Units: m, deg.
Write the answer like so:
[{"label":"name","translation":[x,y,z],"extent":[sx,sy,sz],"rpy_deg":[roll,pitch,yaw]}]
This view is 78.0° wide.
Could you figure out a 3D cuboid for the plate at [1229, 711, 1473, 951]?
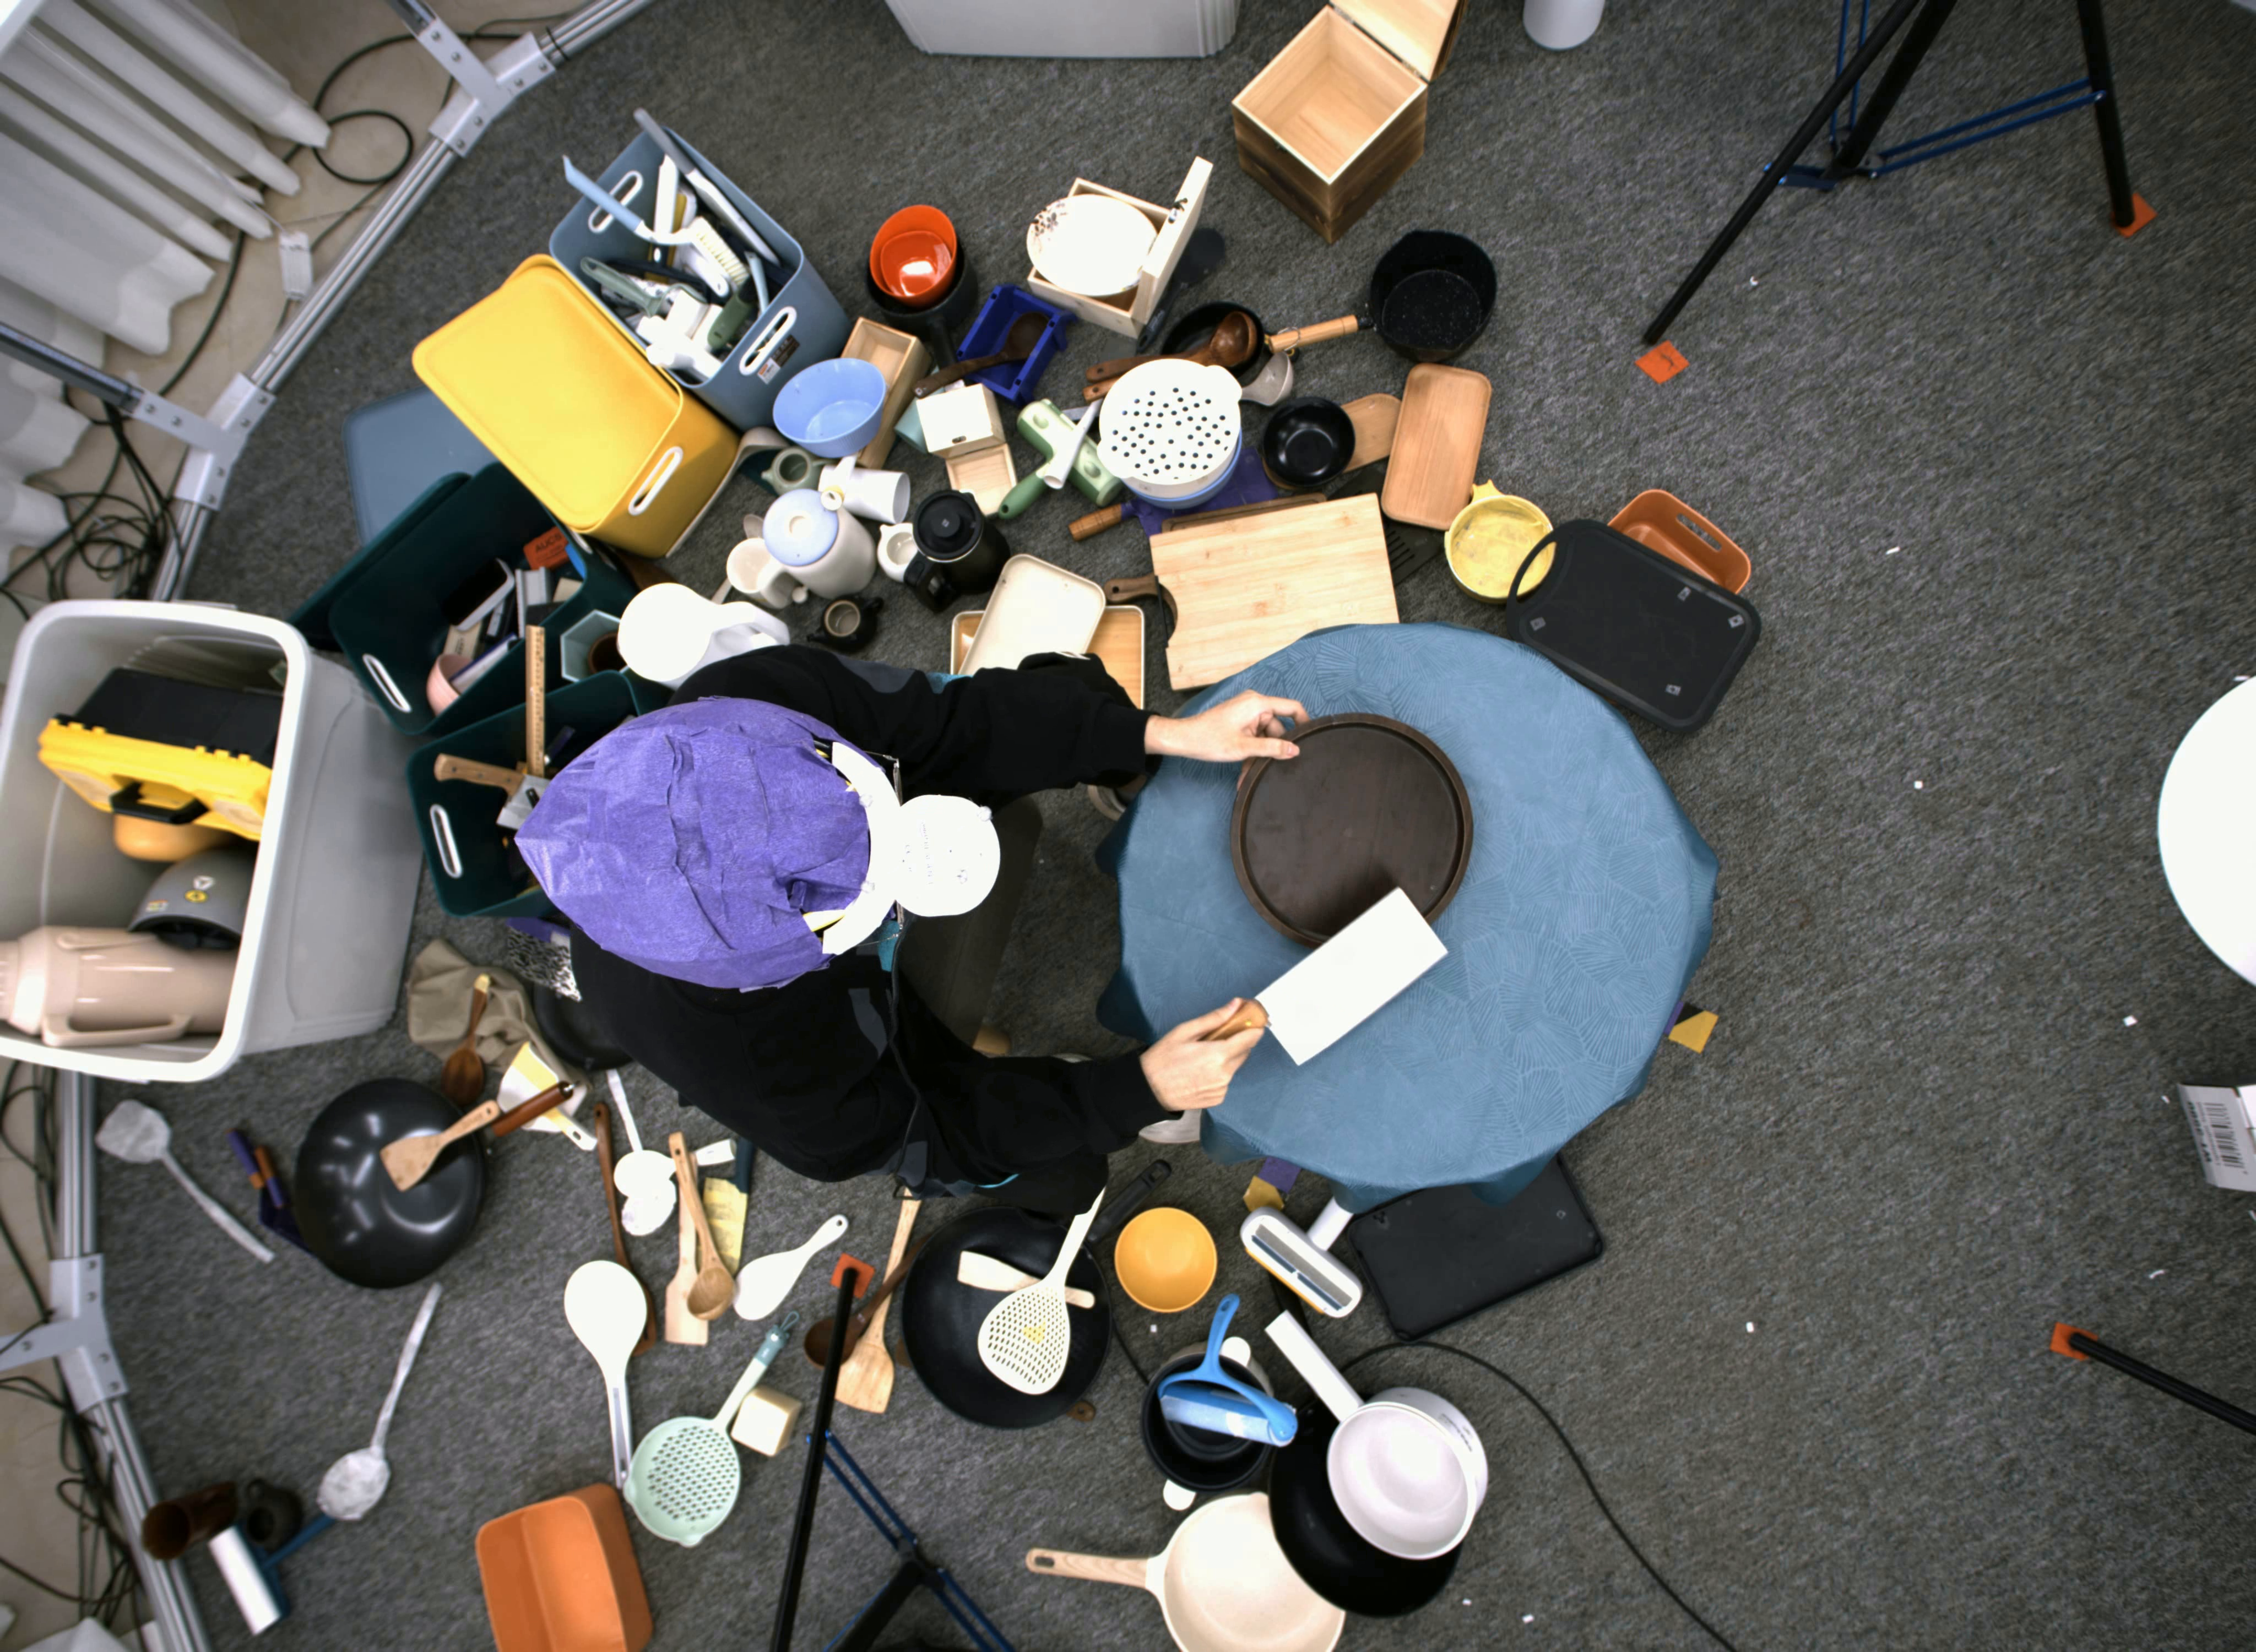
[{"label":"plate","translation":[0.230,0.006,1.427],"extent":[0.255,0.029,0.256],"rpy_deg":[0,98,0]}]

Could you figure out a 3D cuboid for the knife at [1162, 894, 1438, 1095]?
[{"label":"knife","translation":[0.178,0.187,1.392],"extent":[0.307,0.020,0.094],"rpy_deg":[-37,109,7]}]
